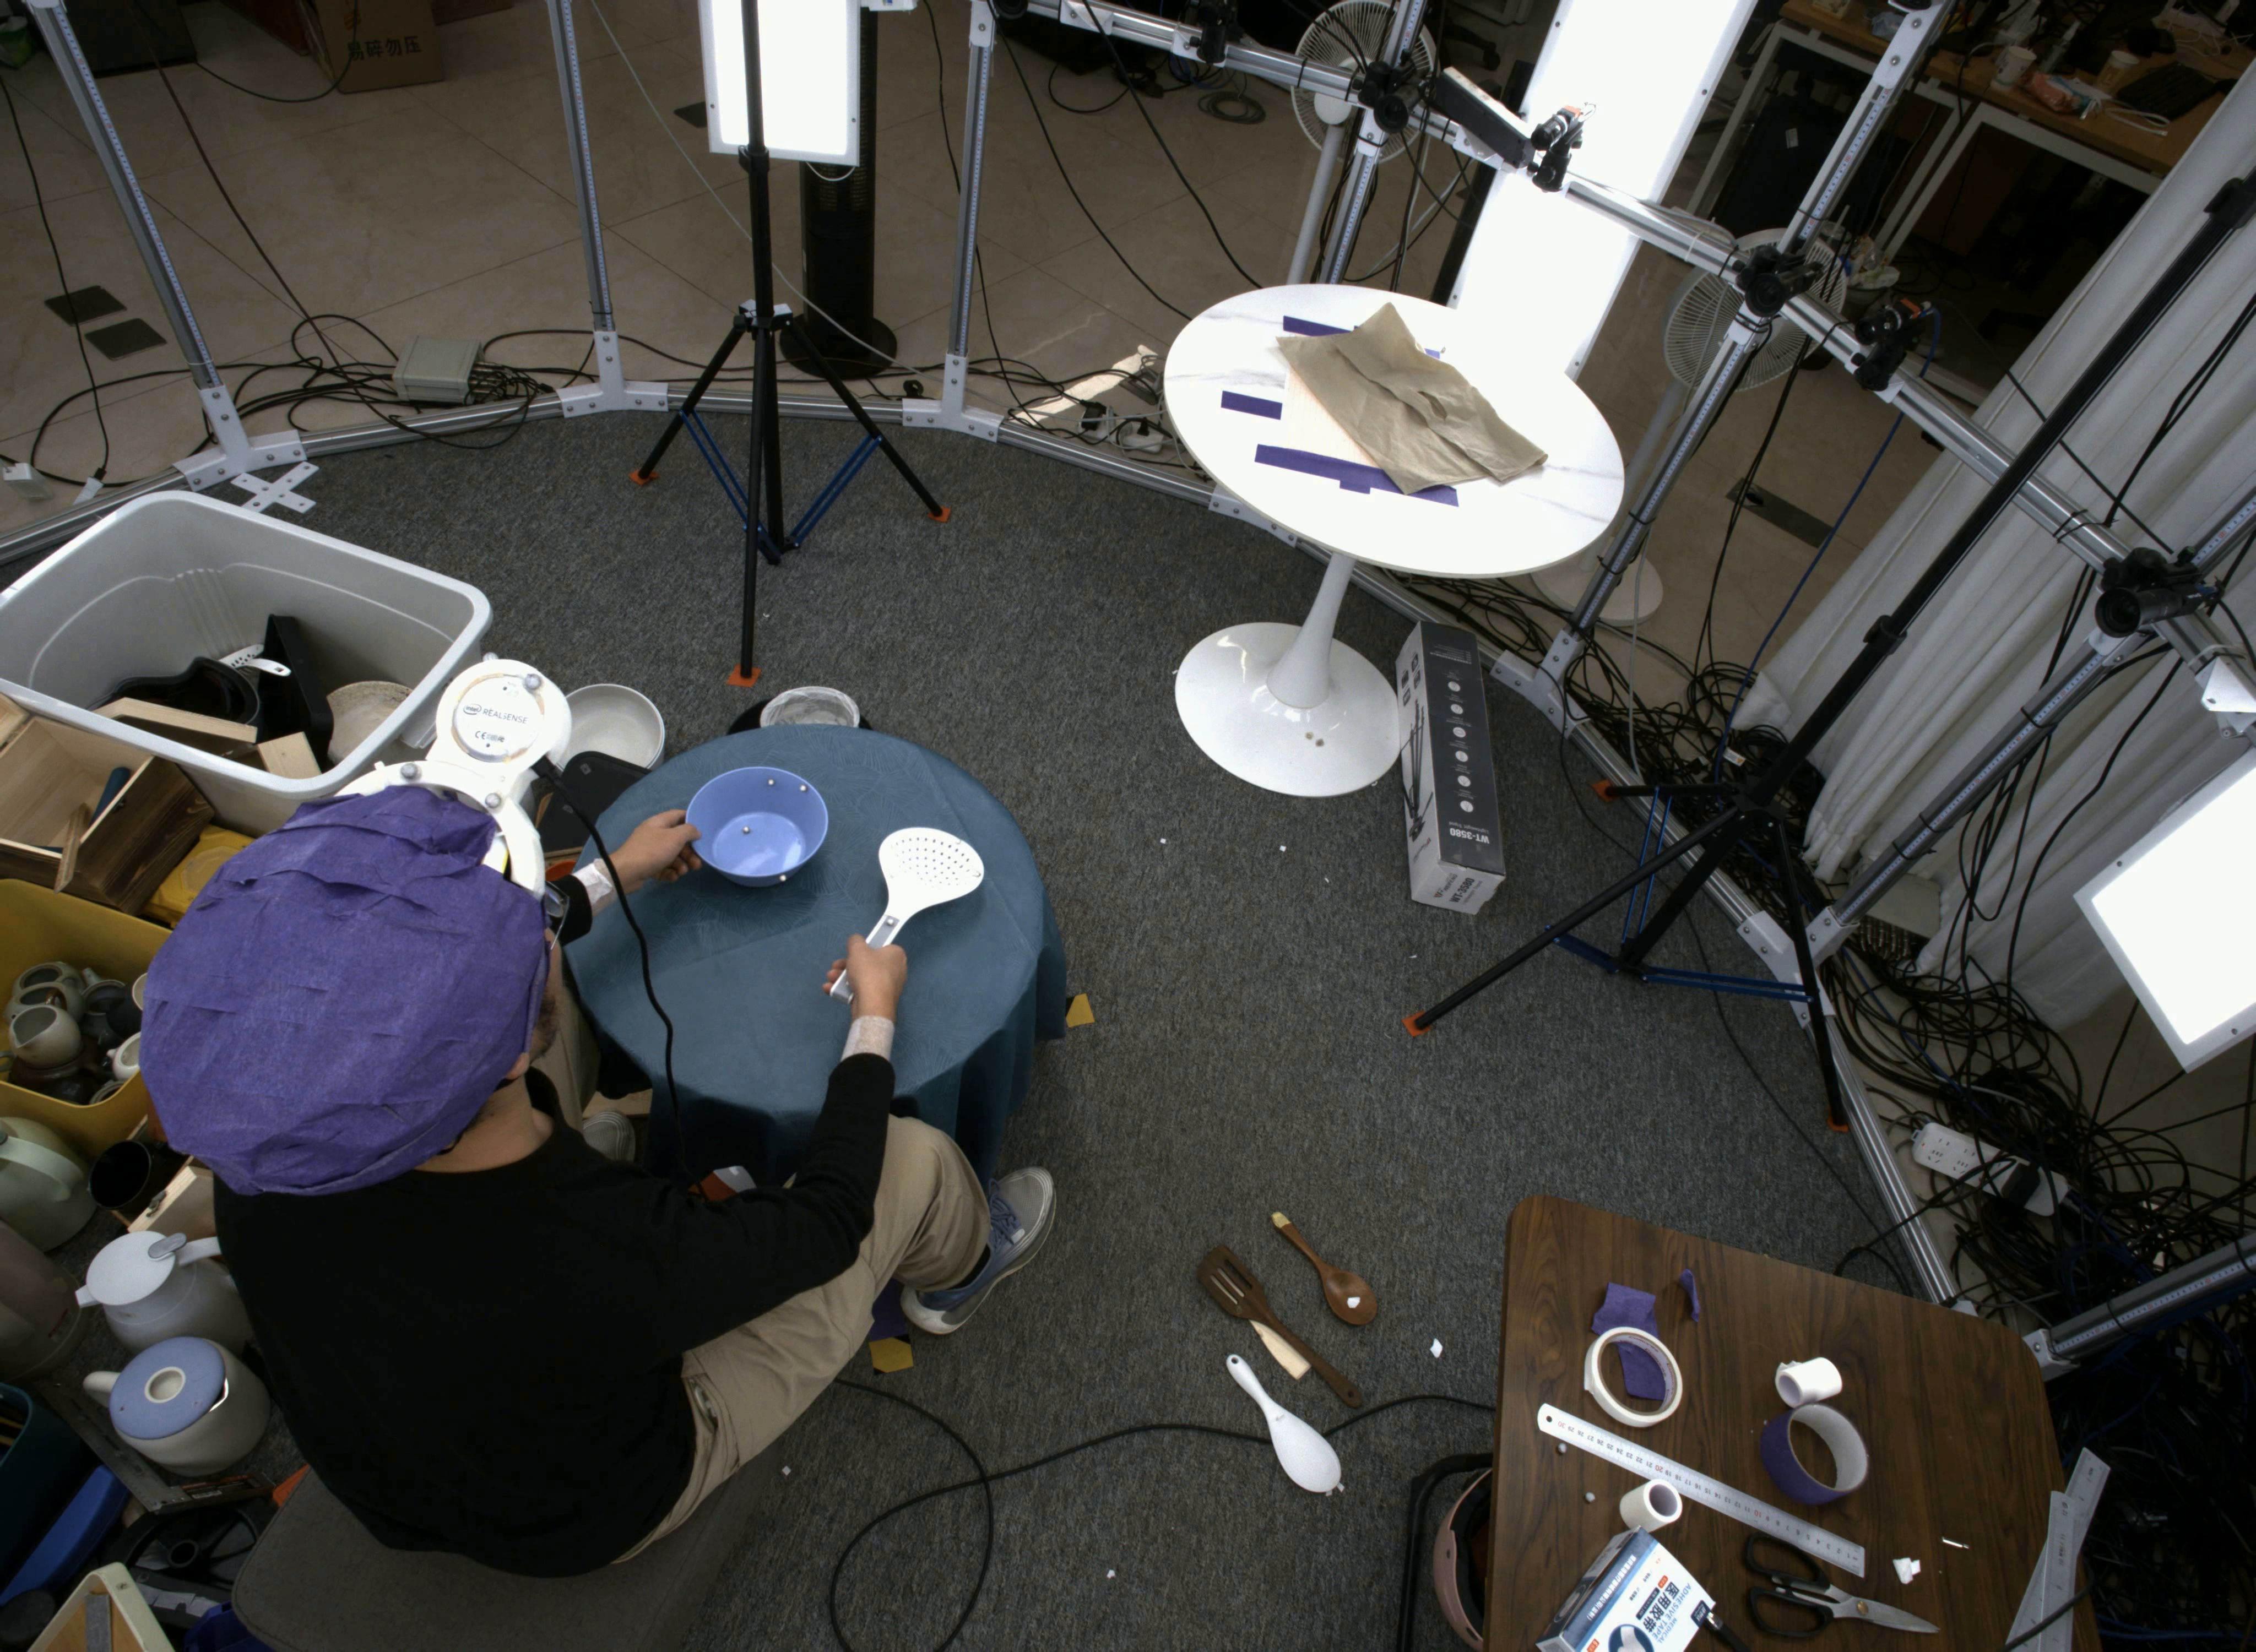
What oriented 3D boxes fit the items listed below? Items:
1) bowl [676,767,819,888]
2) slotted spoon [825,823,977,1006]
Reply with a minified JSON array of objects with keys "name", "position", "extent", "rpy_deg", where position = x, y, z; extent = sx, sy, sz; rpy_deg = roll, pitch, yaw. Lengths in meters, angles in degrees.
[{"name":"bowl","position":[-0.482,0.011,1.649],"extent":[0.175,0.072,0.173],"rpy_deg":[7,53,-8]},{"name":"slotted spoon","position":[-0.287,0.102,1.593],"extent":[0.135,0.046,0.346],"rpy_deg":[25,30,-1]}]
